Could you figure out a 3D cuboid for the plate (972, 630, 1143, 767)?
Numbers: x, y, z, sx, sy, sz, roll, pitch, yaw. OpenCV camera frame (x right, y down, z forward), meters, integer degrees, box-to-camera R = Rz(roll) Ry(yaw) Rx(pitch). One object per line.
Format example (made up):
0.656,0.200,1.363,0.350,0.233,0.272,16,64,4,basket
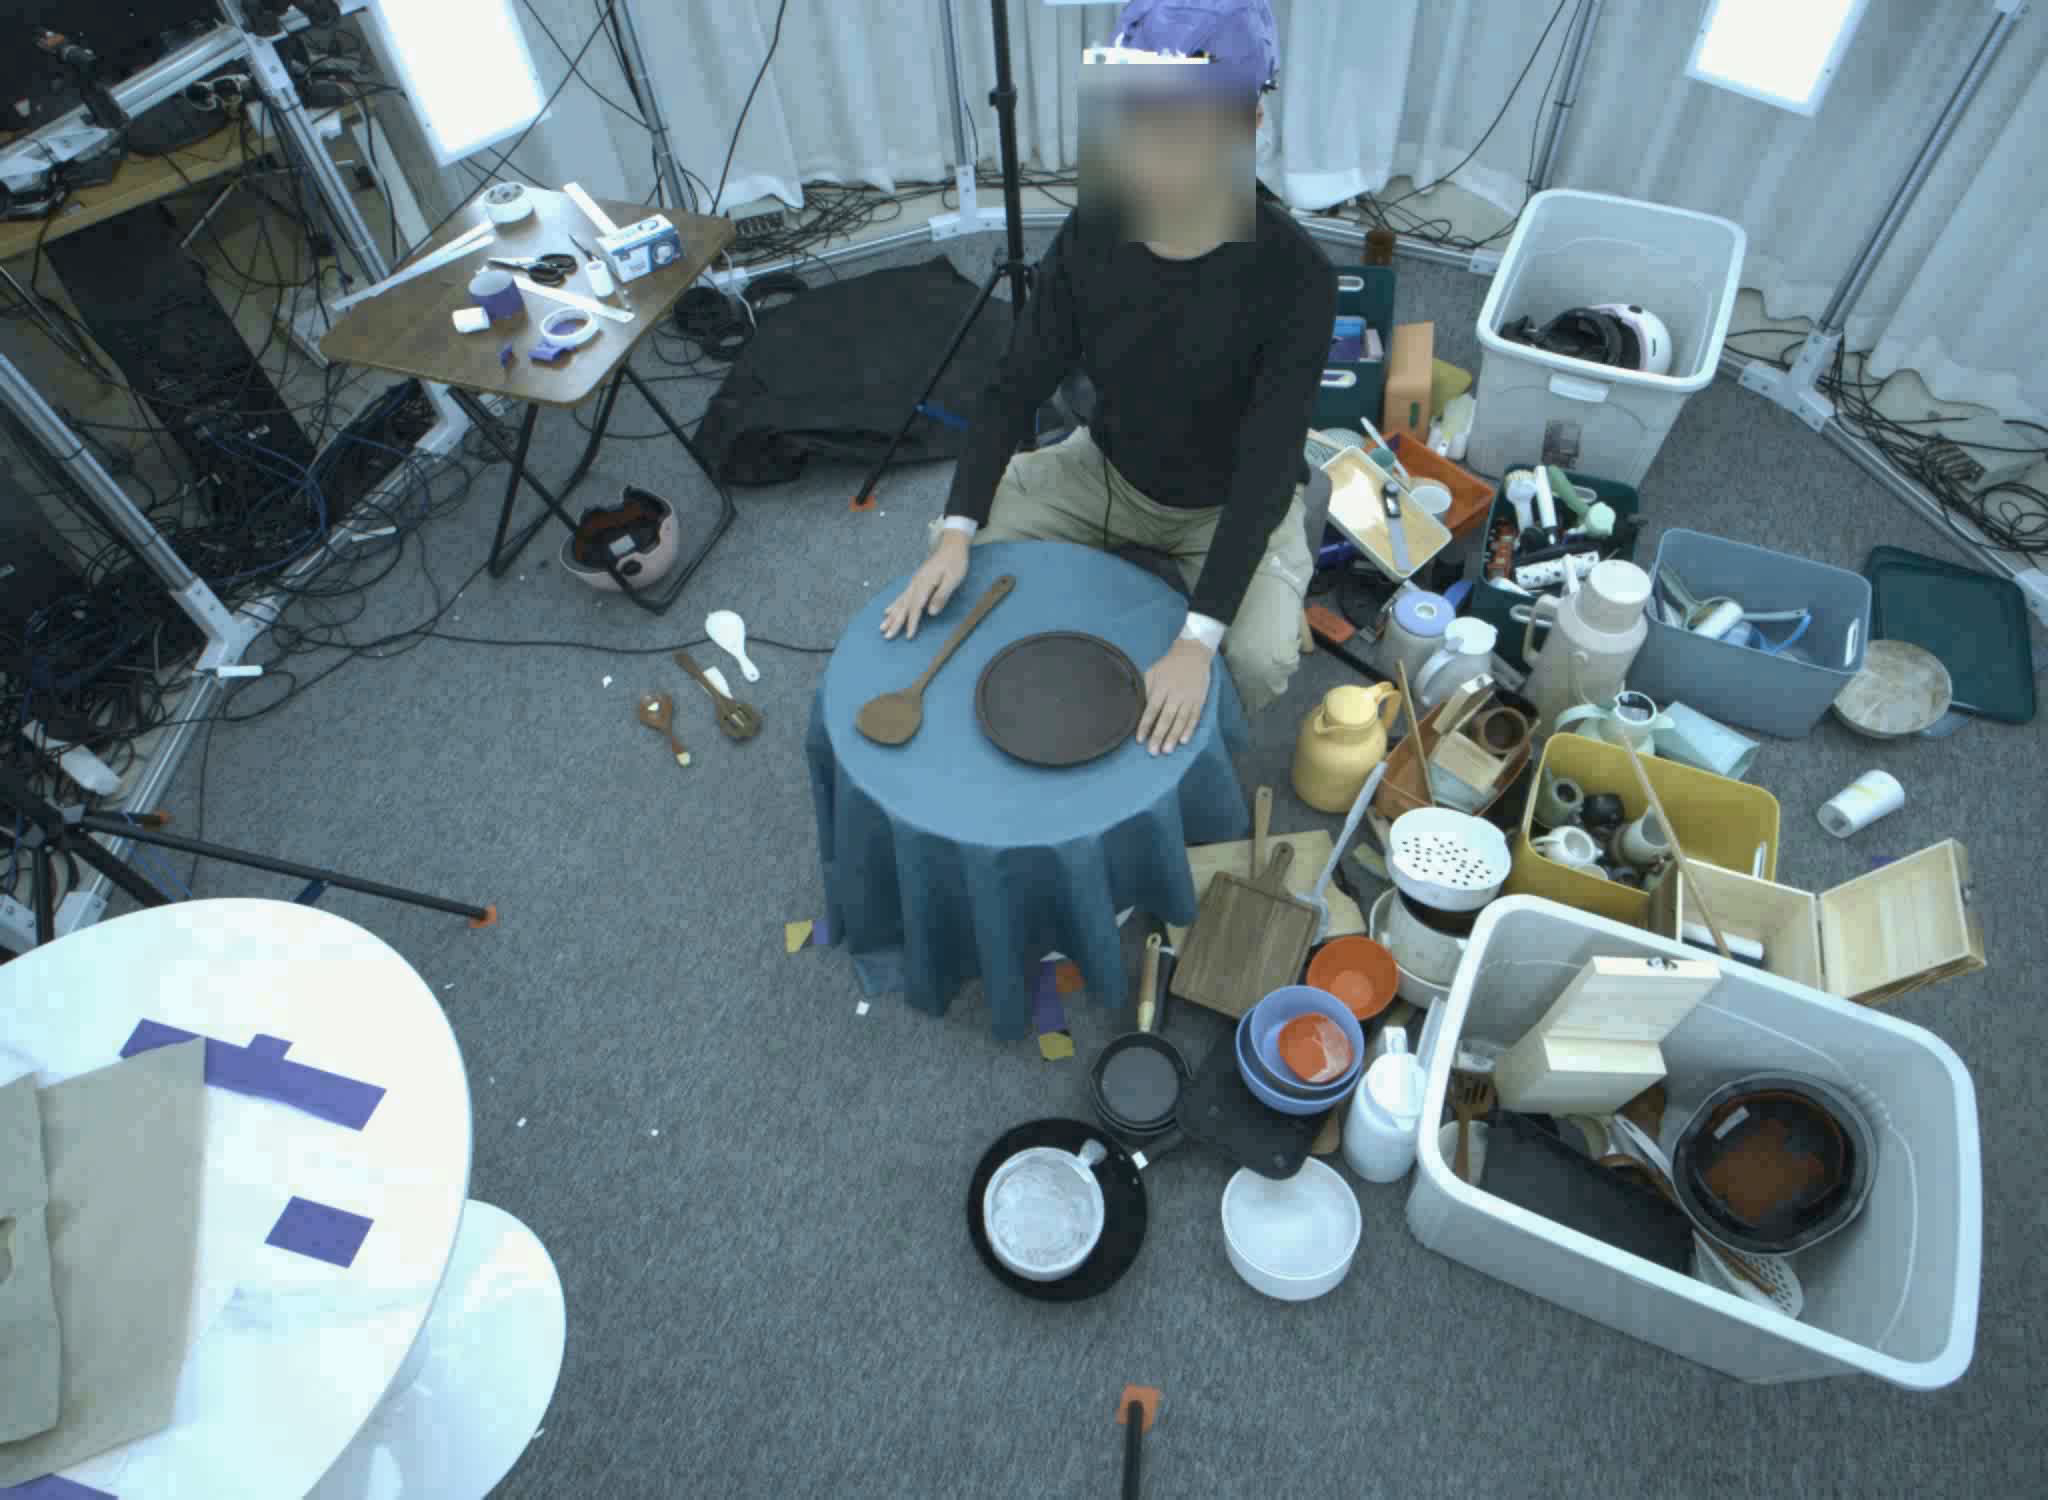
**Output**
0.051,-0.078,1.827,0.254,0.029,0.252,-1,54,3,plate

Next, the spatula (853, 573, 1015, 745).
-0.122,-0.151,1.890,0.095,0.016,0.387,26,59,18,spatula
